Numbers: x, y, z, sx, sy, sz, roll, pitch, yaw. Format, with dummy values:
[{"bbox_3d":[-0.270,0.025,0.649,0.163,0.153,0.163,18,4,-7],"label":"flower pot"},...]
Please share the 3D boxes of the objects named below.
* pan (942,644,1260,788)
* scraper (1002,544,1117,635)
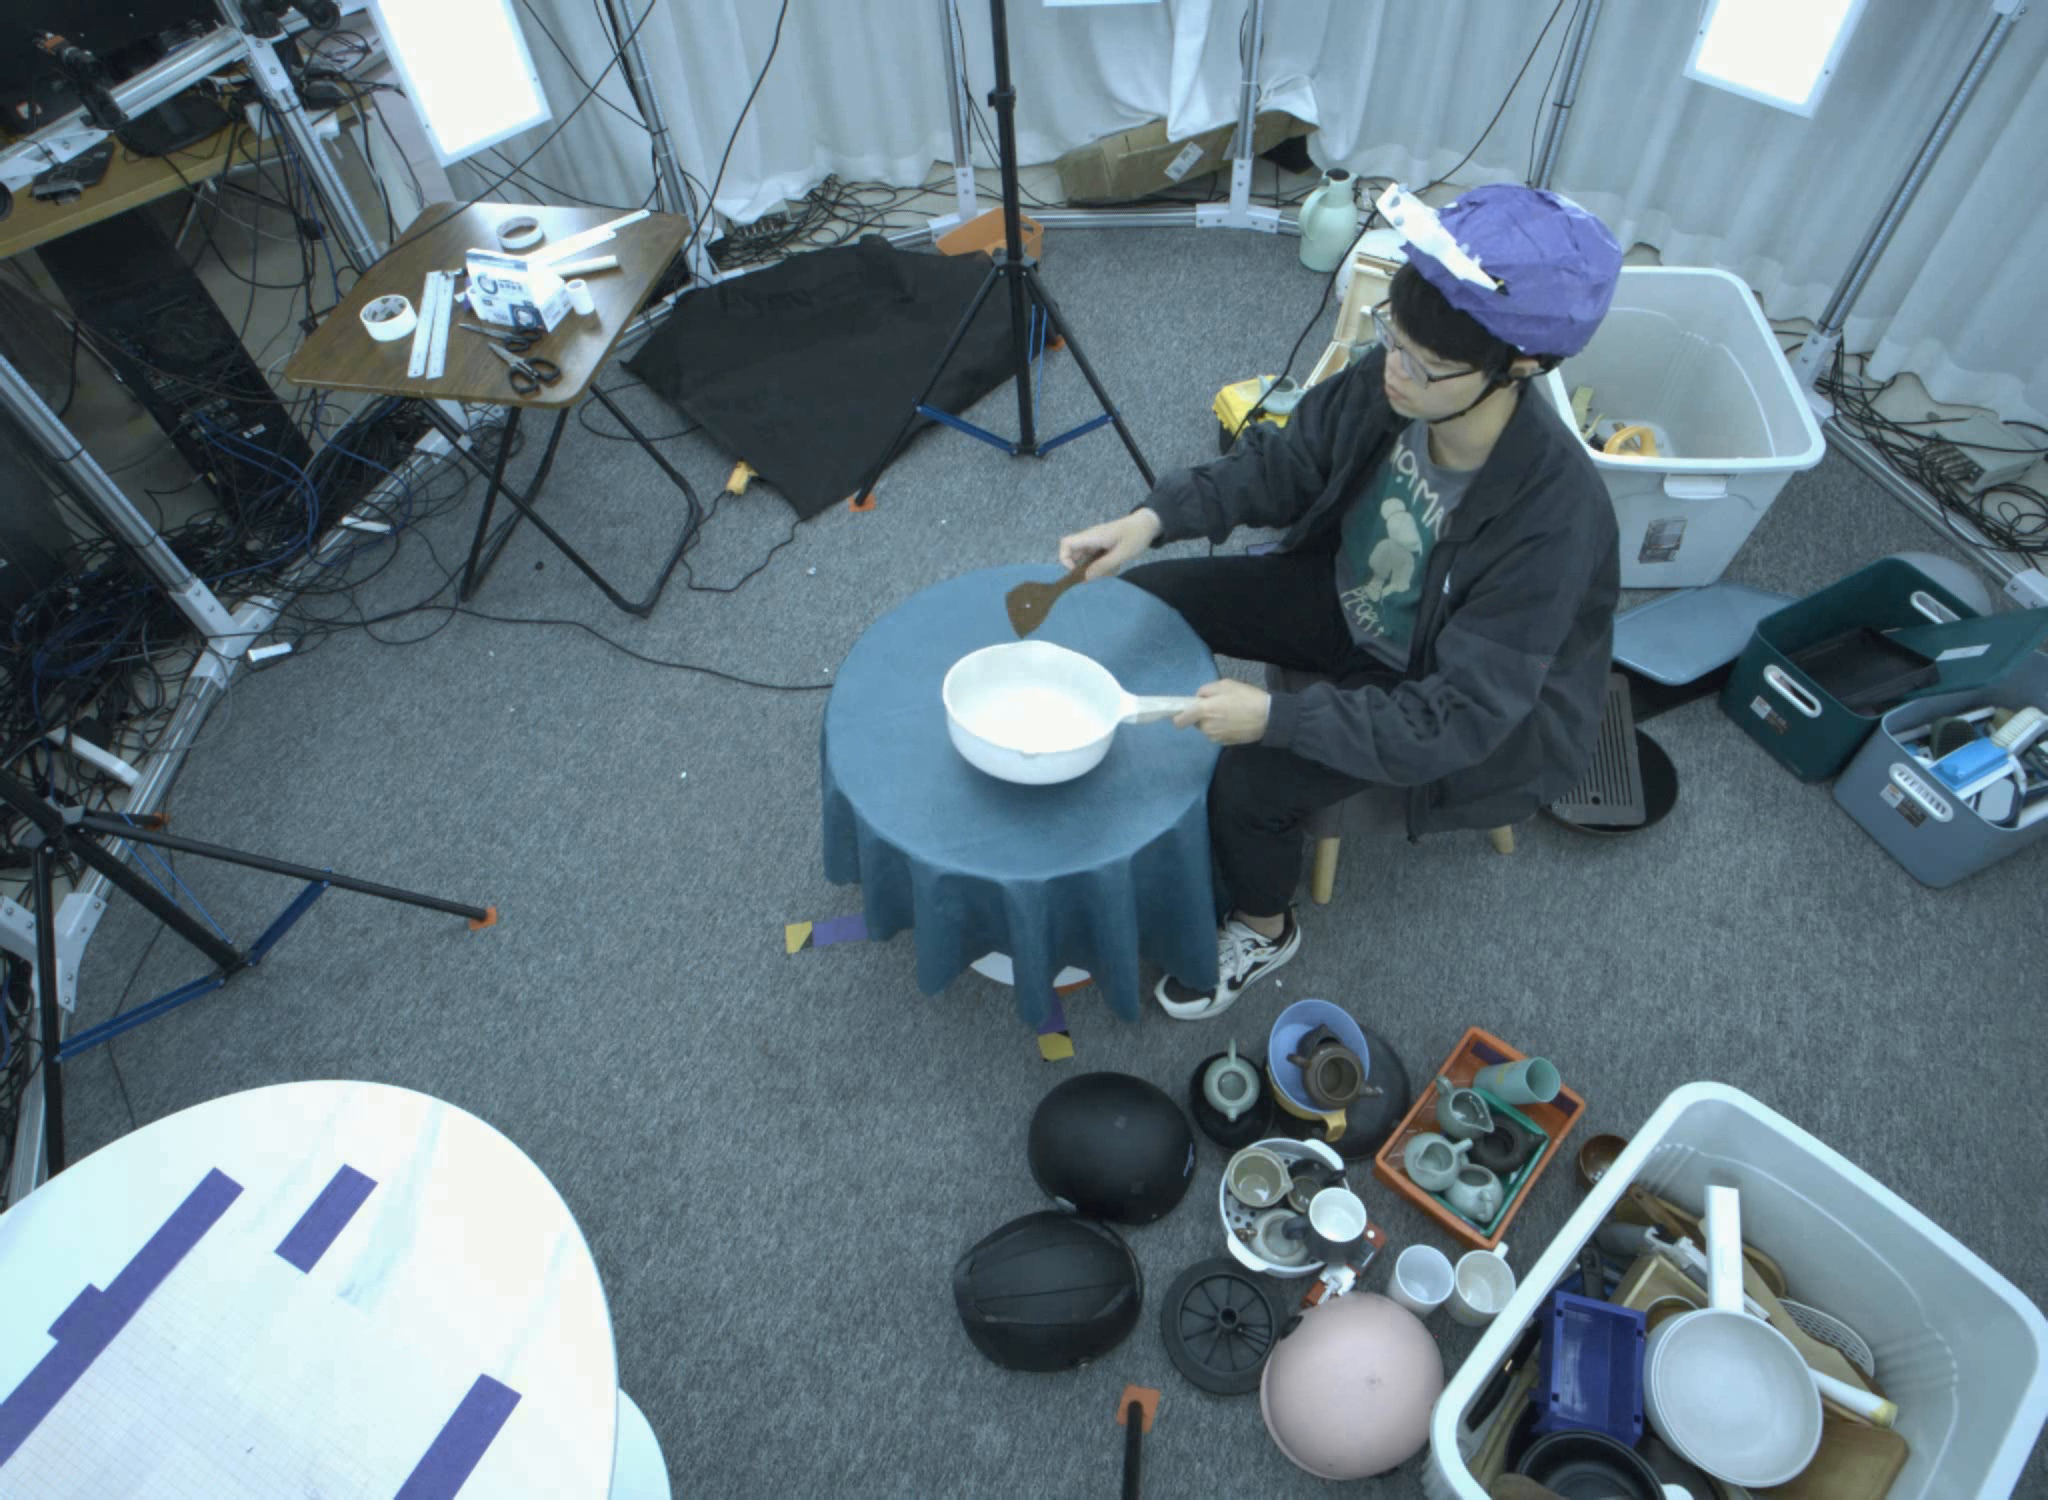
[{"bbox_3d":[0.103,-0.040,1.707,0.436,0.102,0.261,6,38,-3],"label":"pan"},{"bbox_3d":[0.053,-0.240,1.749,0.213,0.077,0.010,-34,26,-28],"label":"scraper"}]
